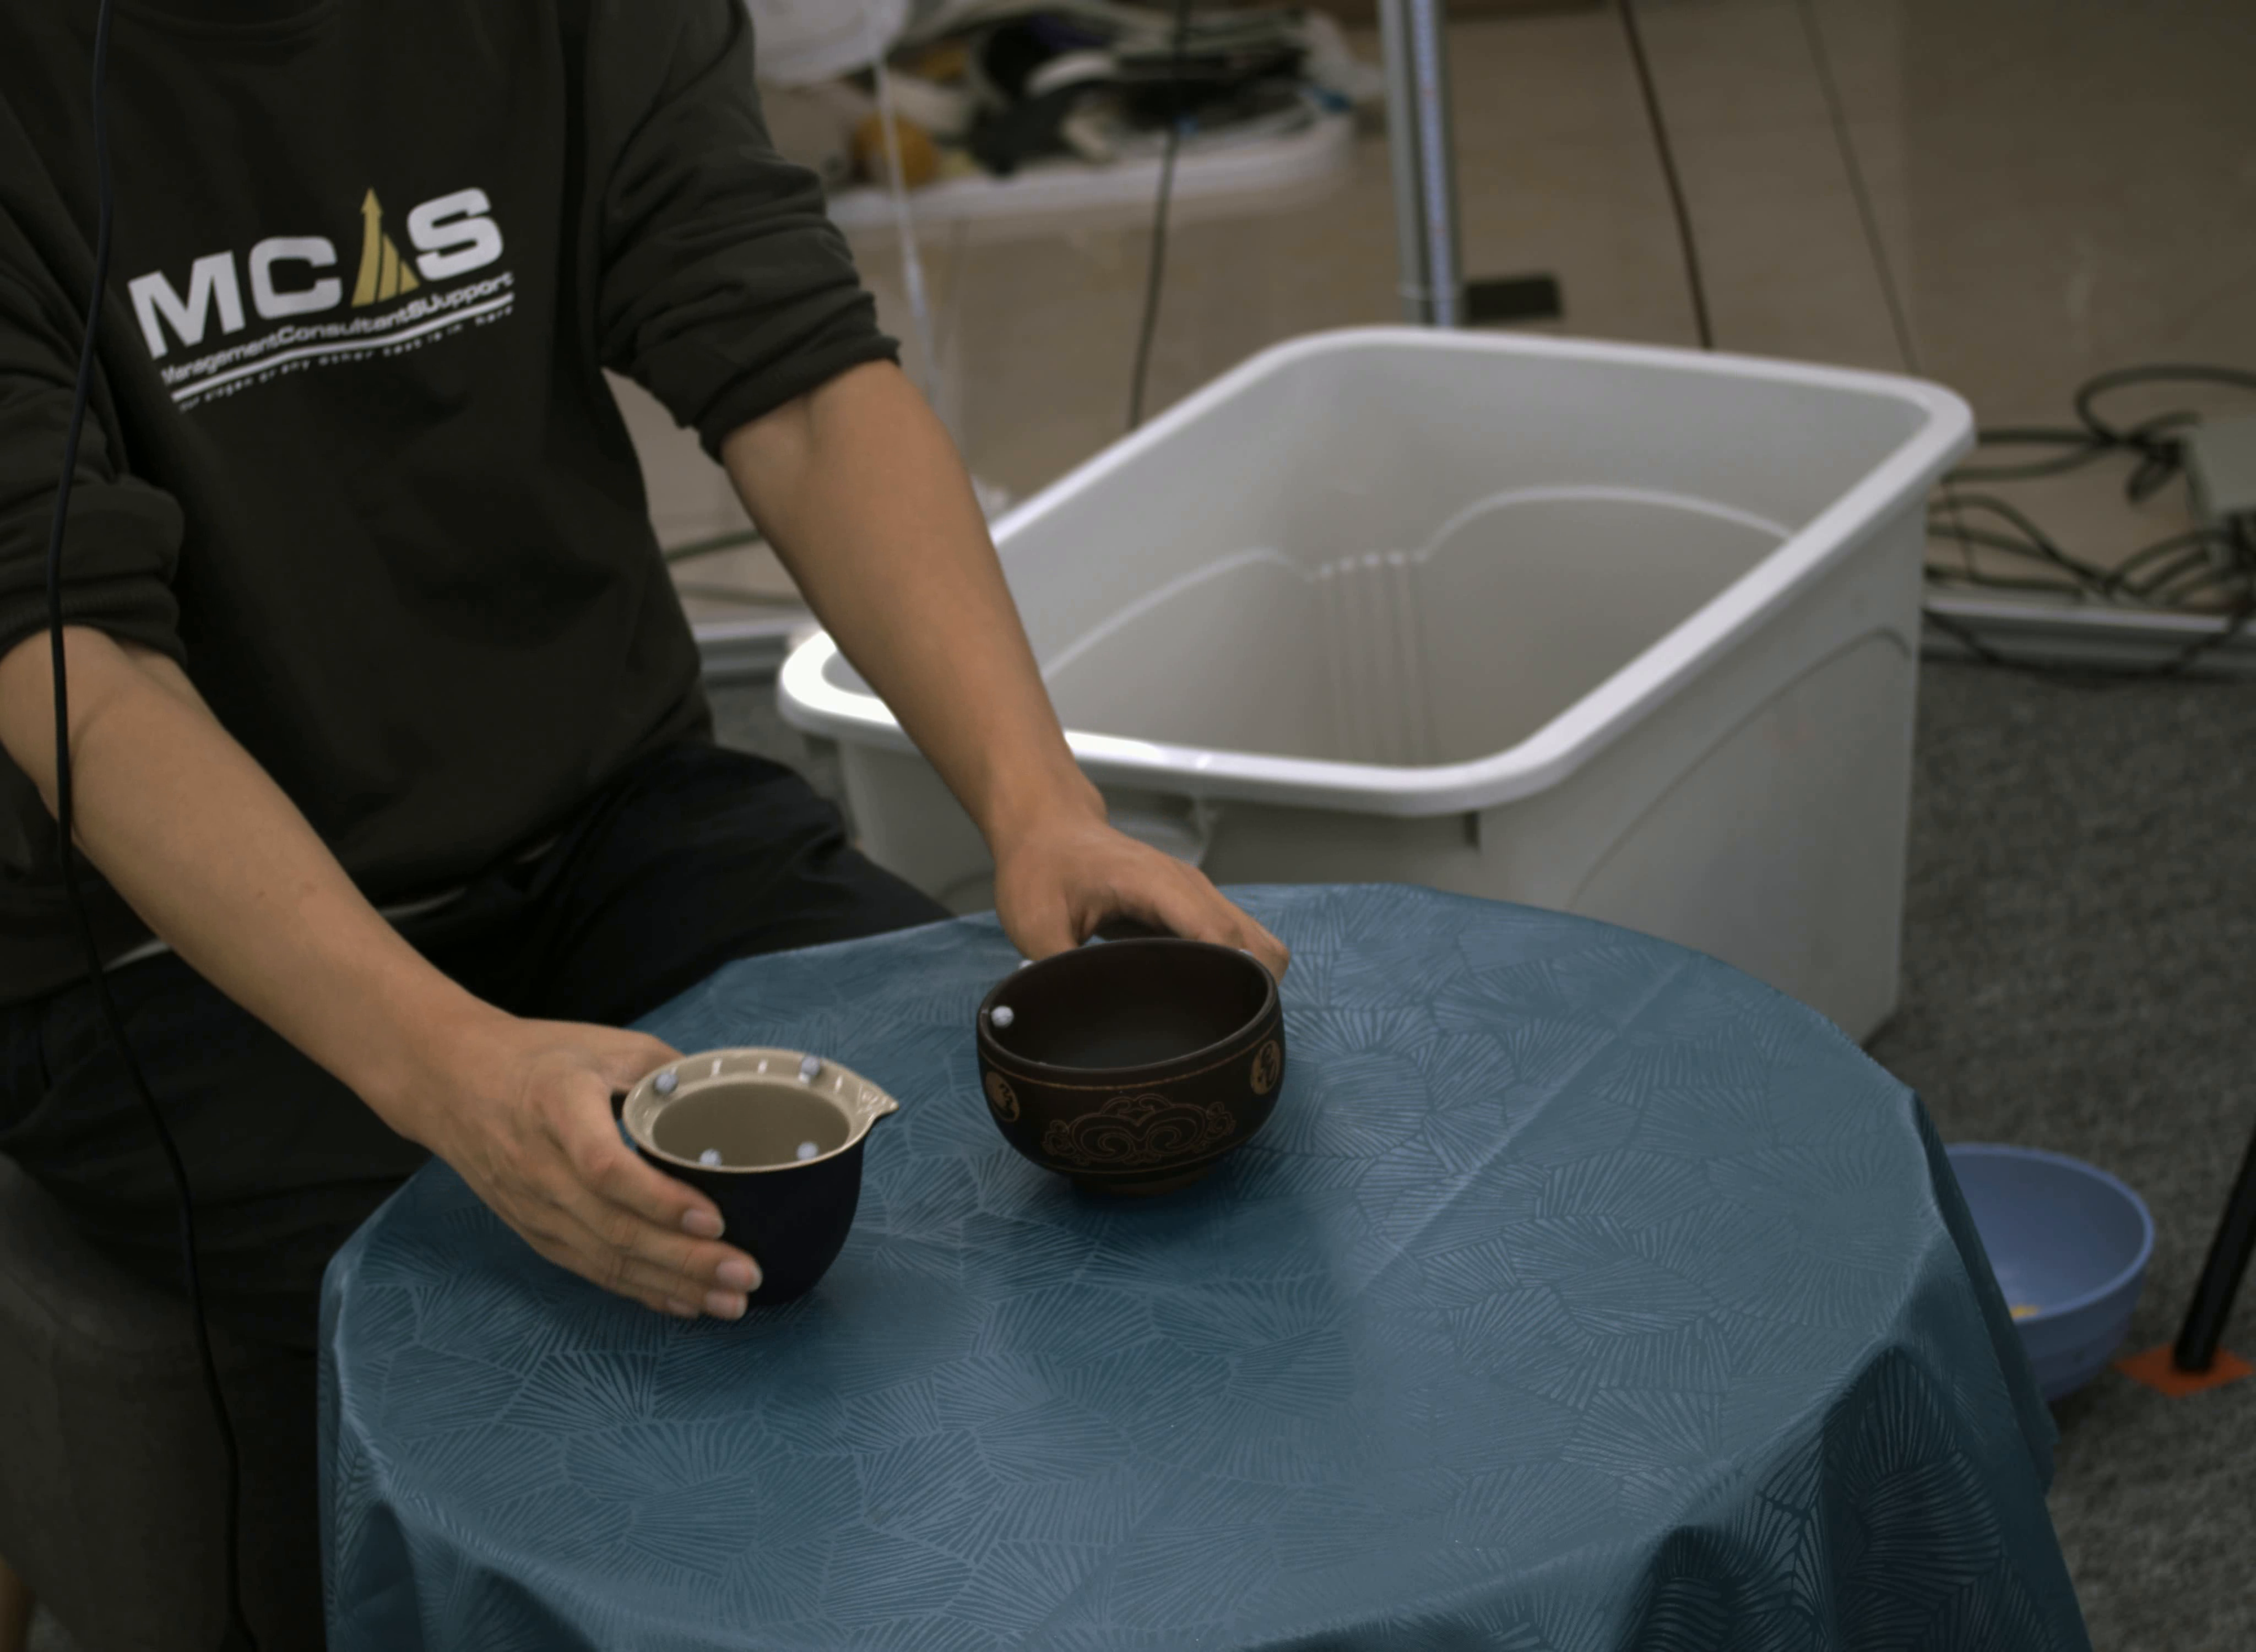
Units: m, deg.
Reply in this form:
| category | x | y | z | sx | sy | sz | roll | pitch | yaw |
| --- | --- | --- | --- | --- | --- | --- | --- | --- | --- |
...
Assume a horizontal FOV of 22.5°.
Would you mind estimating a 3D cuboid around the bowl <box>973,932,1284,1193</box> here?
| category | x | y | z | sx | sy | sz | roll | pitch | yaw |
| --- | --- | --- | --- | --- | --- | --- | --- | --- | --- |
| bowl | 0.002 | 0.096 | 2.153 | 0.118 | 0.071 | 0.116 | -5 | 27 | 3 |

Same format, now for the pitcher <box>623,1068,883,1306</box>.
| category | x | y | z | sx | sy | sz | roll | pitch | yaw |
| --- | --- | --- | --- | --- | --- | --- | --- | --- | --- |
| pitcher | -0.137 | 0.133 | 2.087 | 0.096 | 0.072 | 0.082 | -2 | 25 | -5 |
